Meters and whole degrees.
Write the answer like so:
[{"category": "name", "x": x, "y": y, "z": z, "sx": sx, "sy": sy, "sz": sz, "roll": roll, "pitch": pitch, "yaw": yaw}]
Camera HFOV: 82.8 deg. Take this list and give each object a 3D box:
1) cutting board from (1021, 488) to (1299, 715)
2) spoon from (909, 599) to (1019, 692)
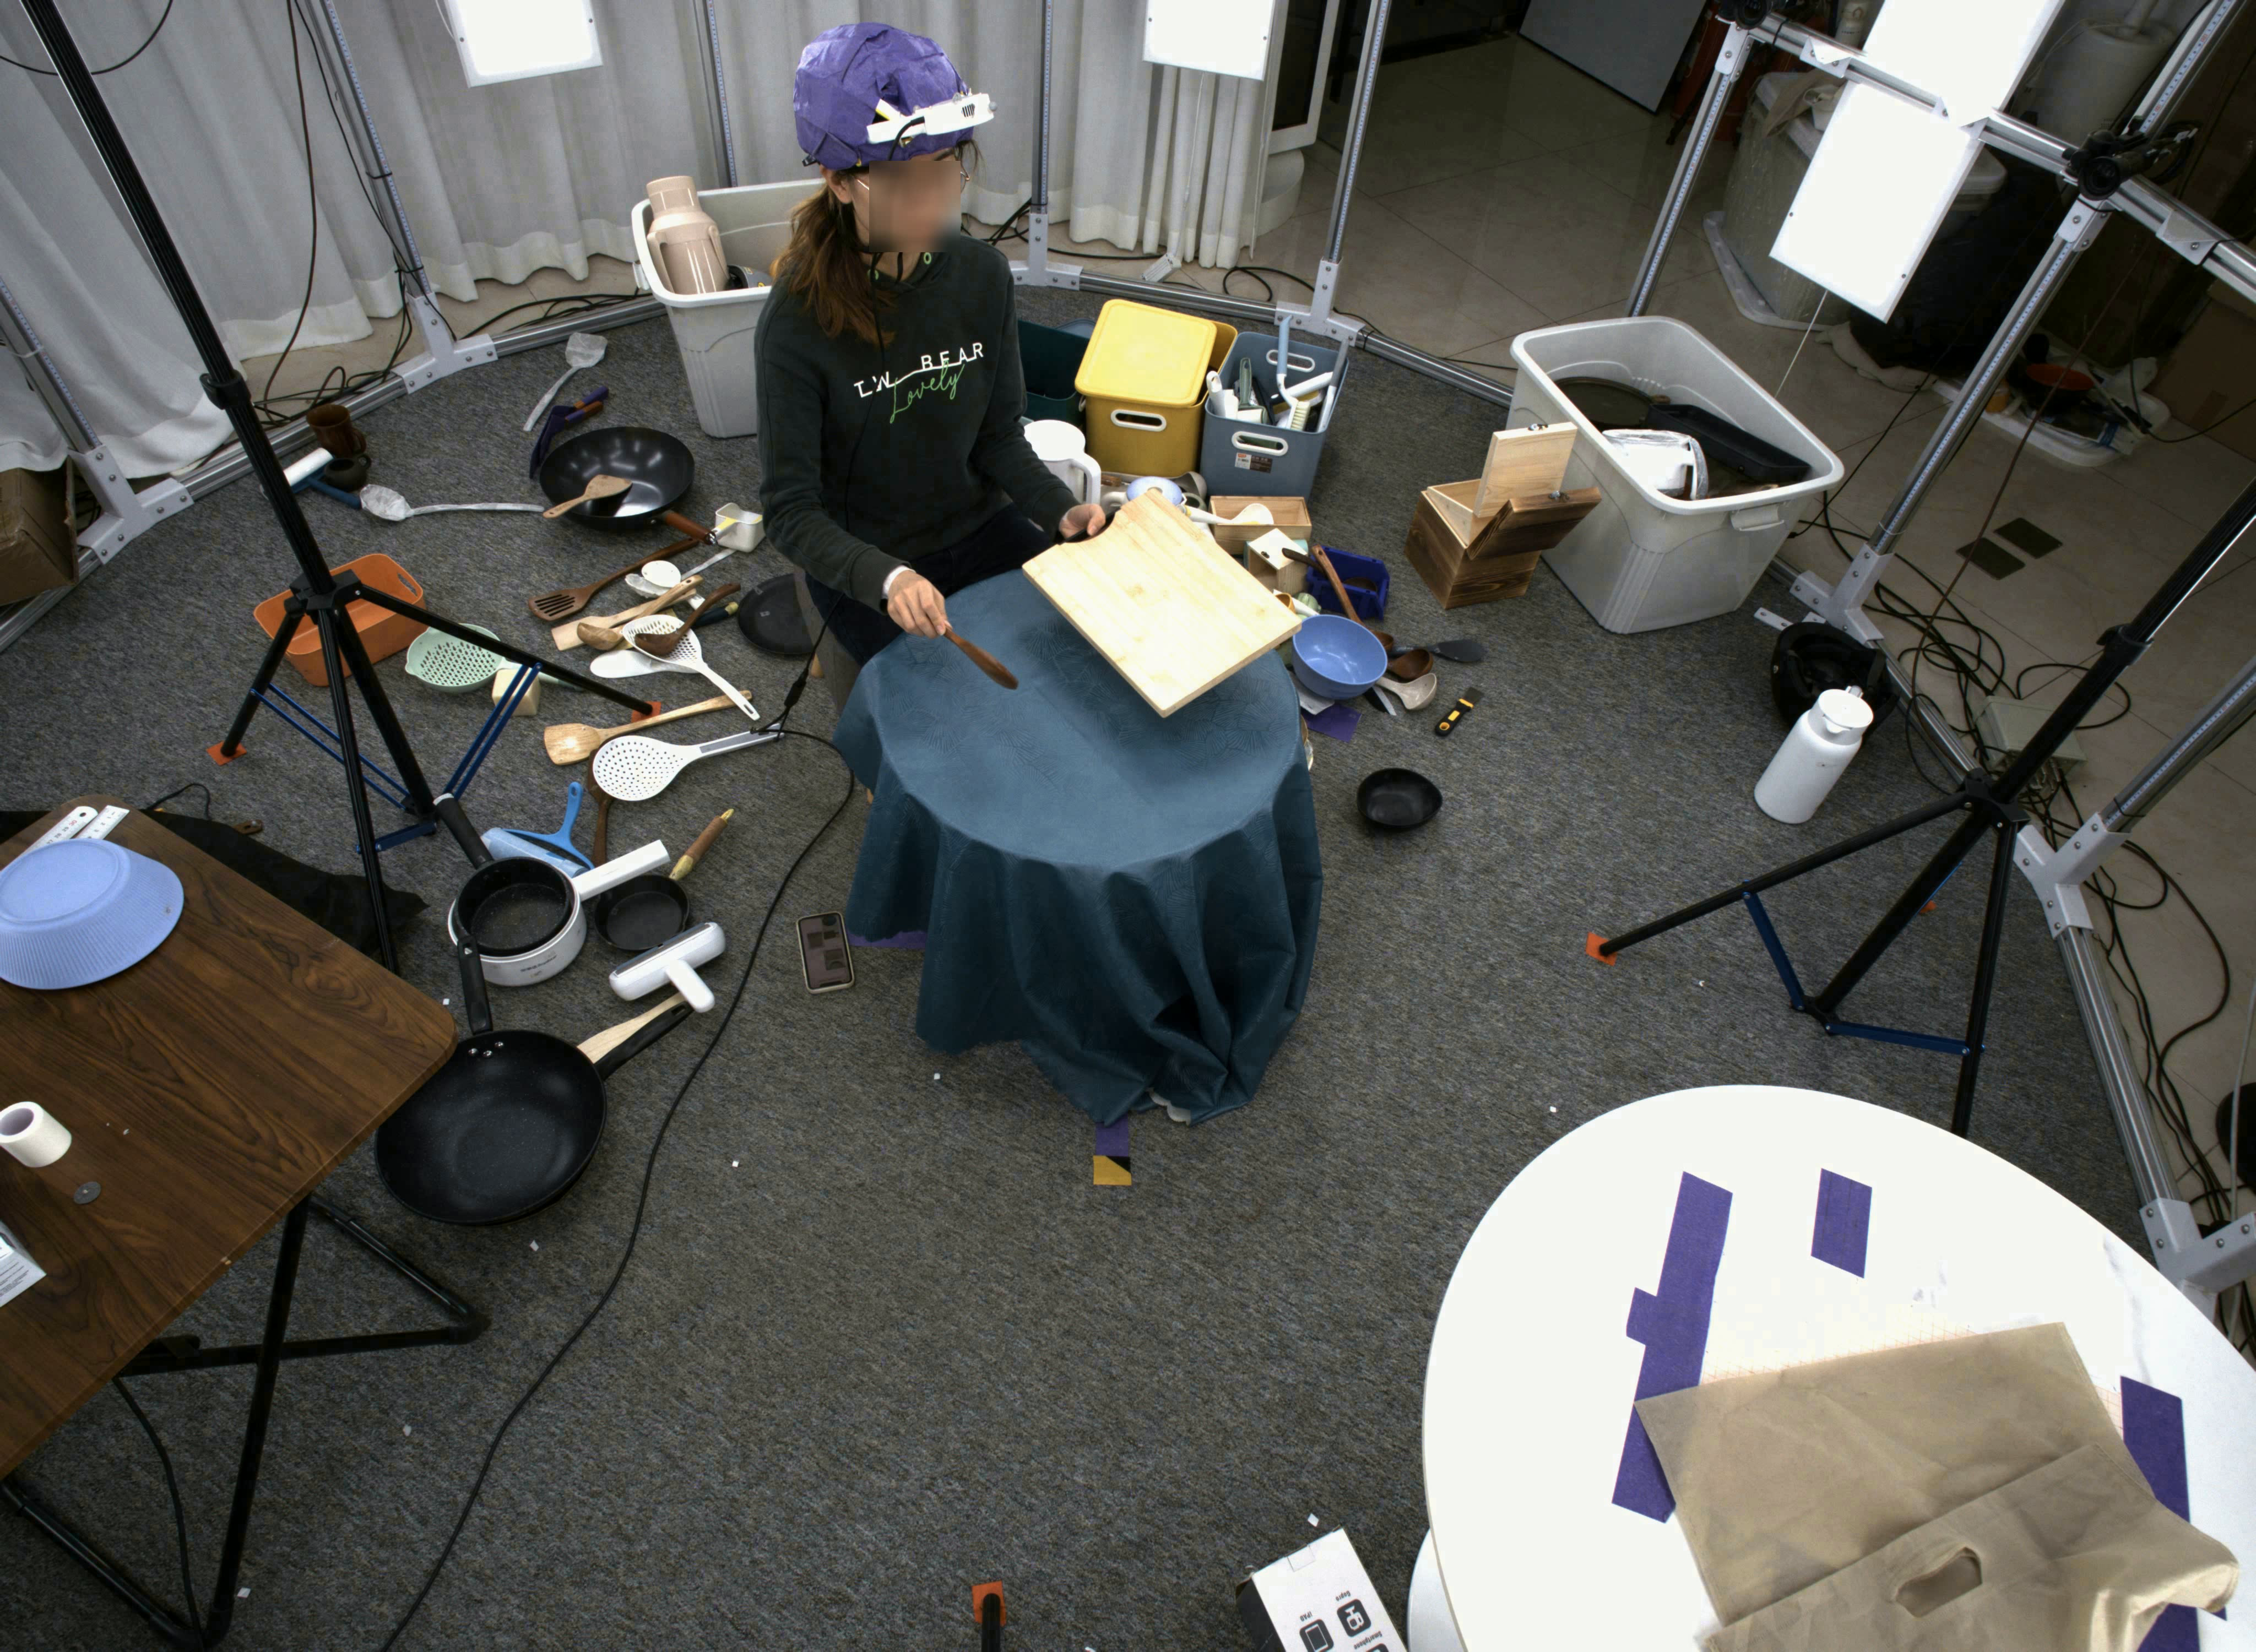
[{"category": "cutting board", "x": 0.040, "y": -0.327, "z": 1.828, "sx": 0.252, "sy": 0.023, "sz": 0.355, "roll": -34, "pitch": 59, "yaw": -16}, {"category": "spoon", "x": -0.221, "y": -0.241, "z": 1.712, "sx": 0.017, "sy": 0.074, "sz": 0.219, "roll": -46, "pitch": 61, "yaw": -6}]
